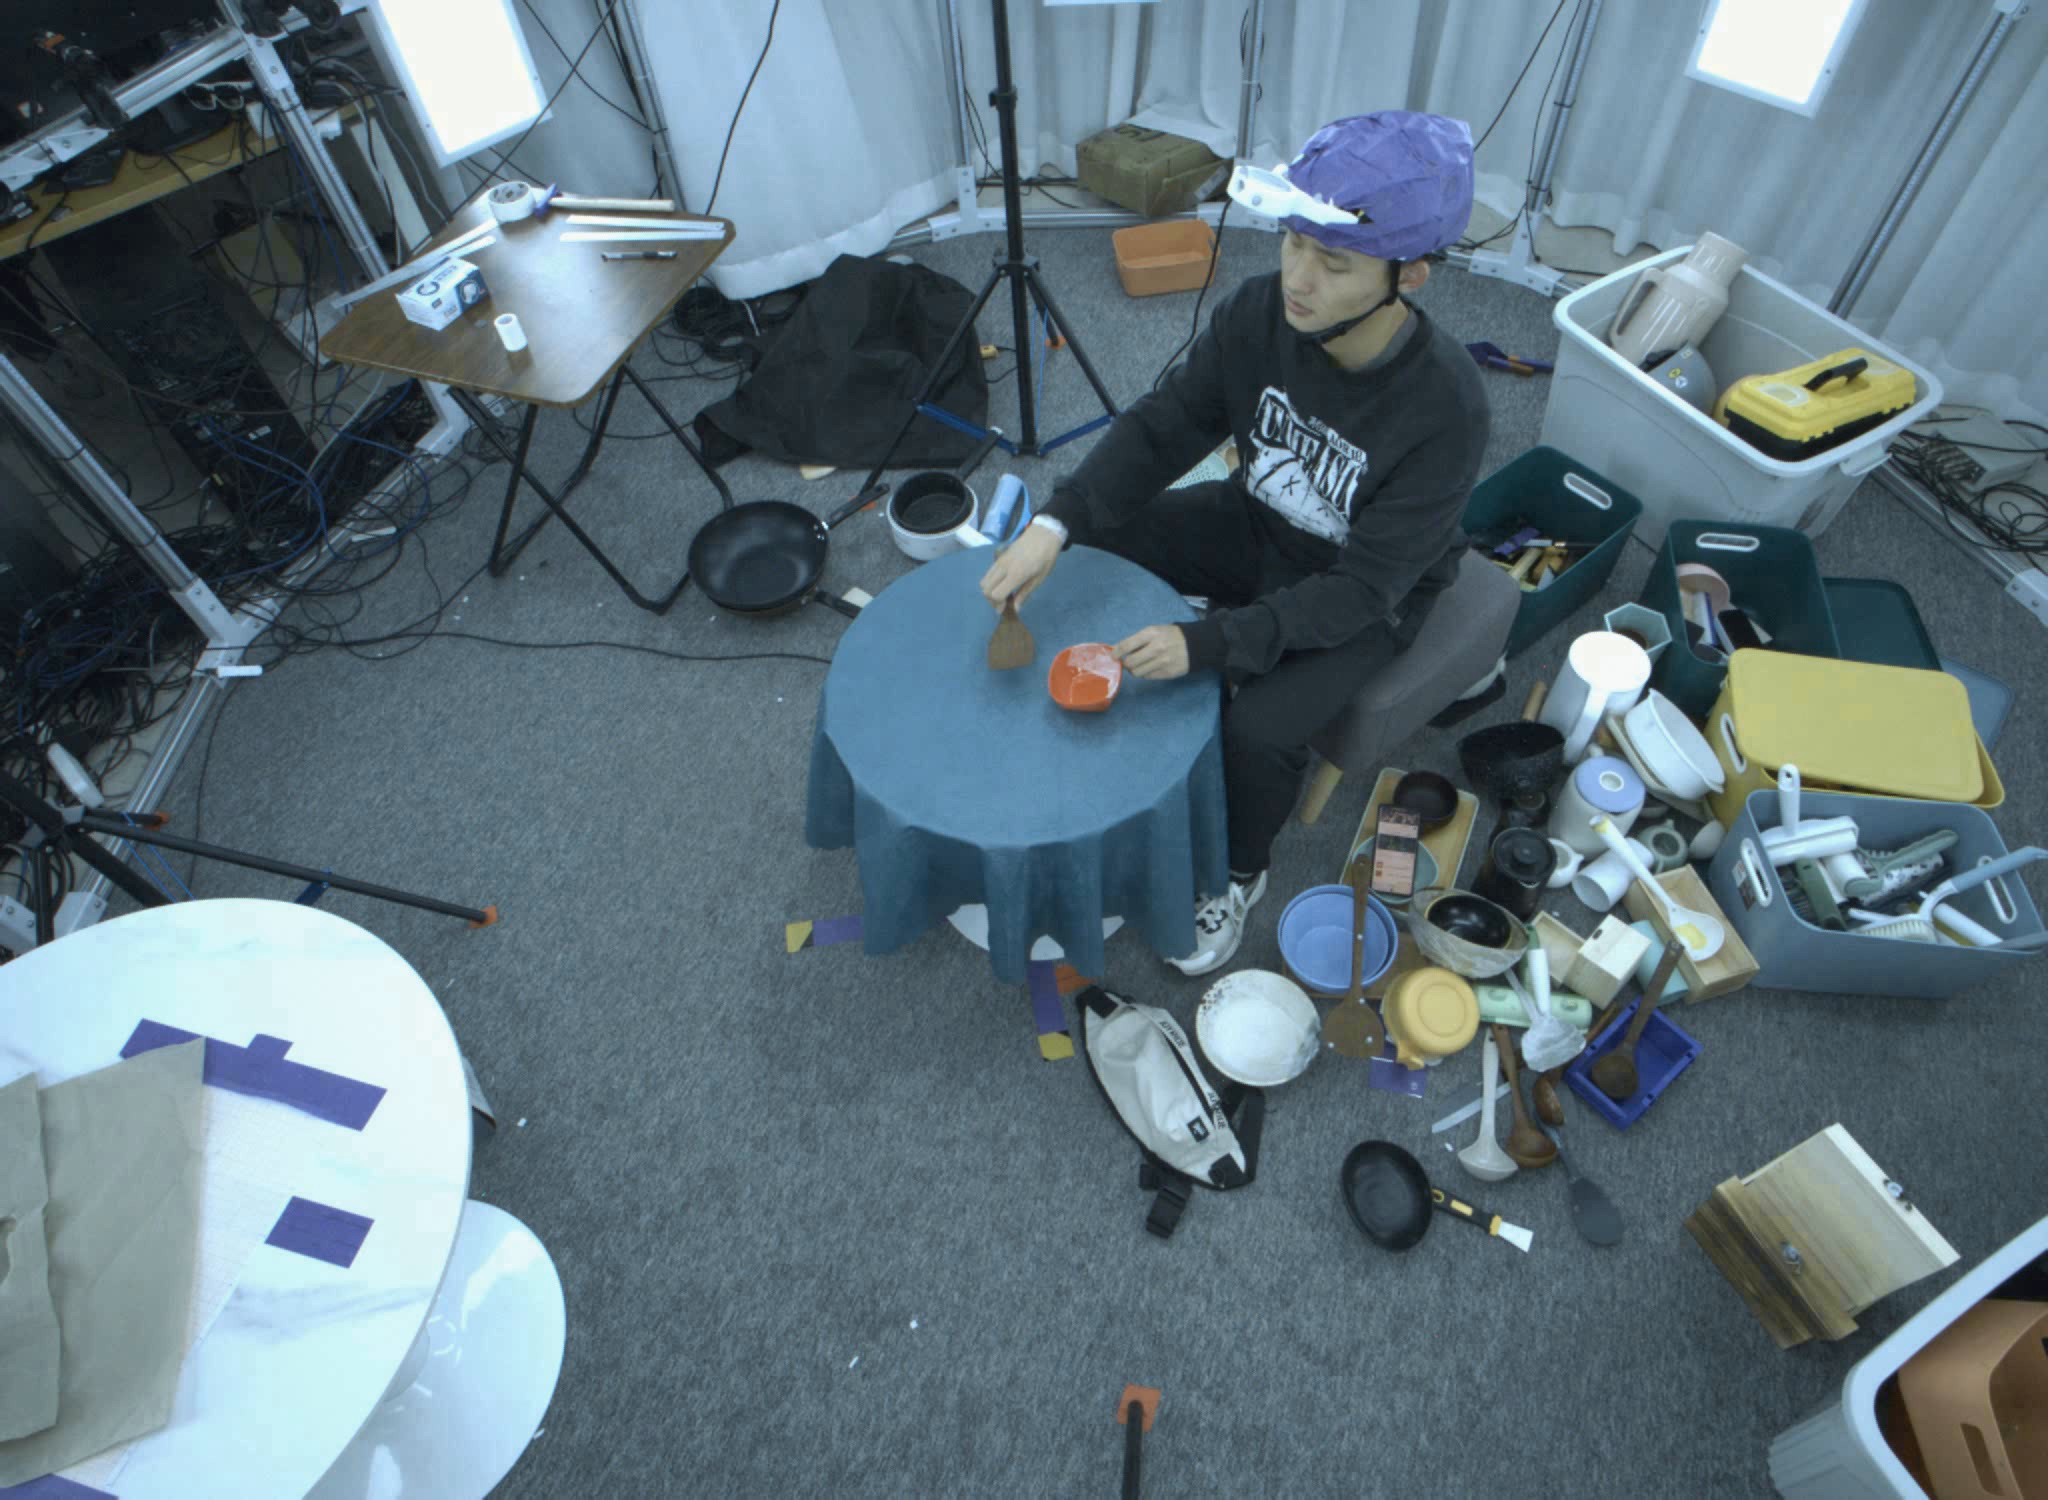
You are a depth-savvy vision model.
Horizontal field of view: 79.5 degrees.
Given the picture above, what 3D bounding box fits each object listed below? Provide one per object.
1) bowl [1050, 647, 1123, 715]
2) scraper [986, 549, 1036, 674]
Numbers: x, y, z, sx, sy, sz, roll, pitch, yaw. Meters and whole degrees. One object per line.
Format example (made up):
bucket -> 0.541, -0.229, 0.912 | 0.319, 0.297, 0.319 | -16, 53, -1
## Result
bowl -> 0.098, -0.094, 1.823 | 0.118, 0.052, 0.118 | -8, 56, 14
scraper -> -0.025, -0.211, 1.853 | 0.075, 0.011, 0.209 | -6, 70, 6
